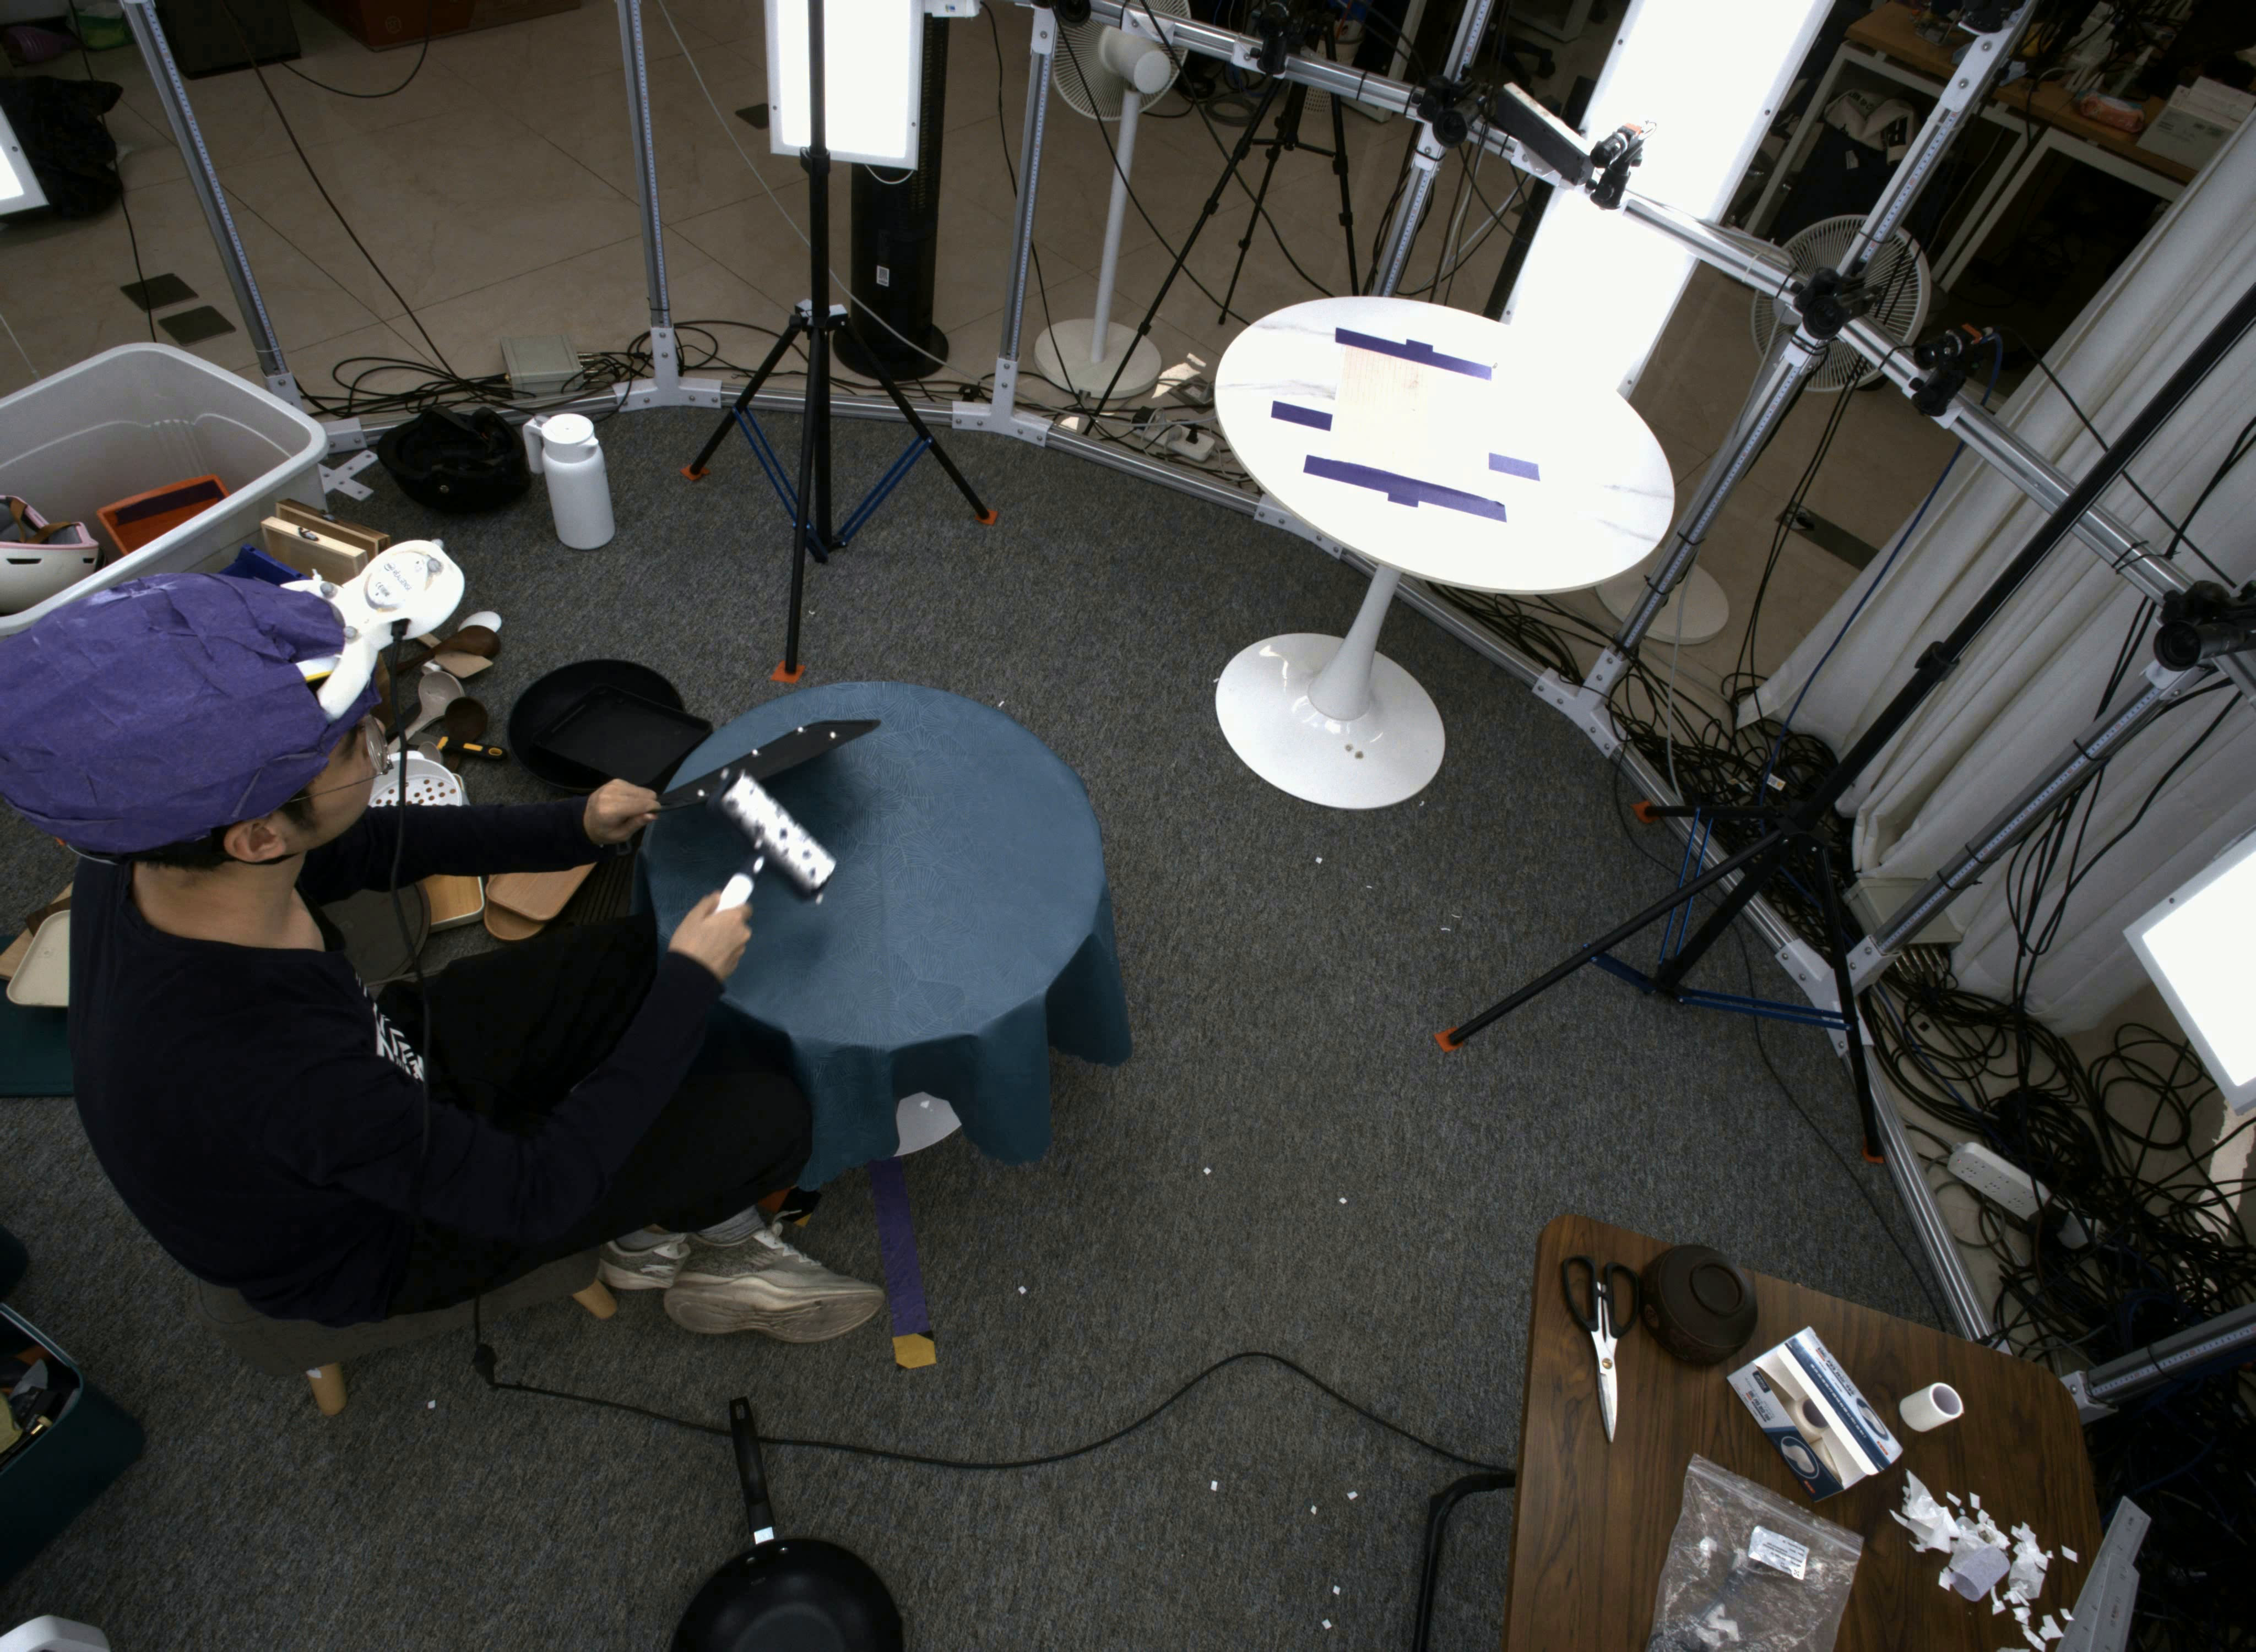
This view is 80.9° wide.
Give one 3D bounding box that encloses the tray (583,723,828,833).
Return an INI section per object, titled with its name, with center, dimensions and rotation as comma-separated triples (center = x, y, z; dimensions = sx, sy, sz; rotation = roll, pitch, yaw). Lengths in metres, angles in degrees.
[tray]
center = -0.547, -0.067, 1.644
dimensions = 0.204, 0.010, 0.326
rotation = 1, 26, 46

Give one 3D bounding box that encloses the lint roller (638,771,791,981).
[lint roller]
center = -0.492, 0.073, 1.469
dimensions = 0.182, 0.049, 0.243
rotation = 49, 36, -30
